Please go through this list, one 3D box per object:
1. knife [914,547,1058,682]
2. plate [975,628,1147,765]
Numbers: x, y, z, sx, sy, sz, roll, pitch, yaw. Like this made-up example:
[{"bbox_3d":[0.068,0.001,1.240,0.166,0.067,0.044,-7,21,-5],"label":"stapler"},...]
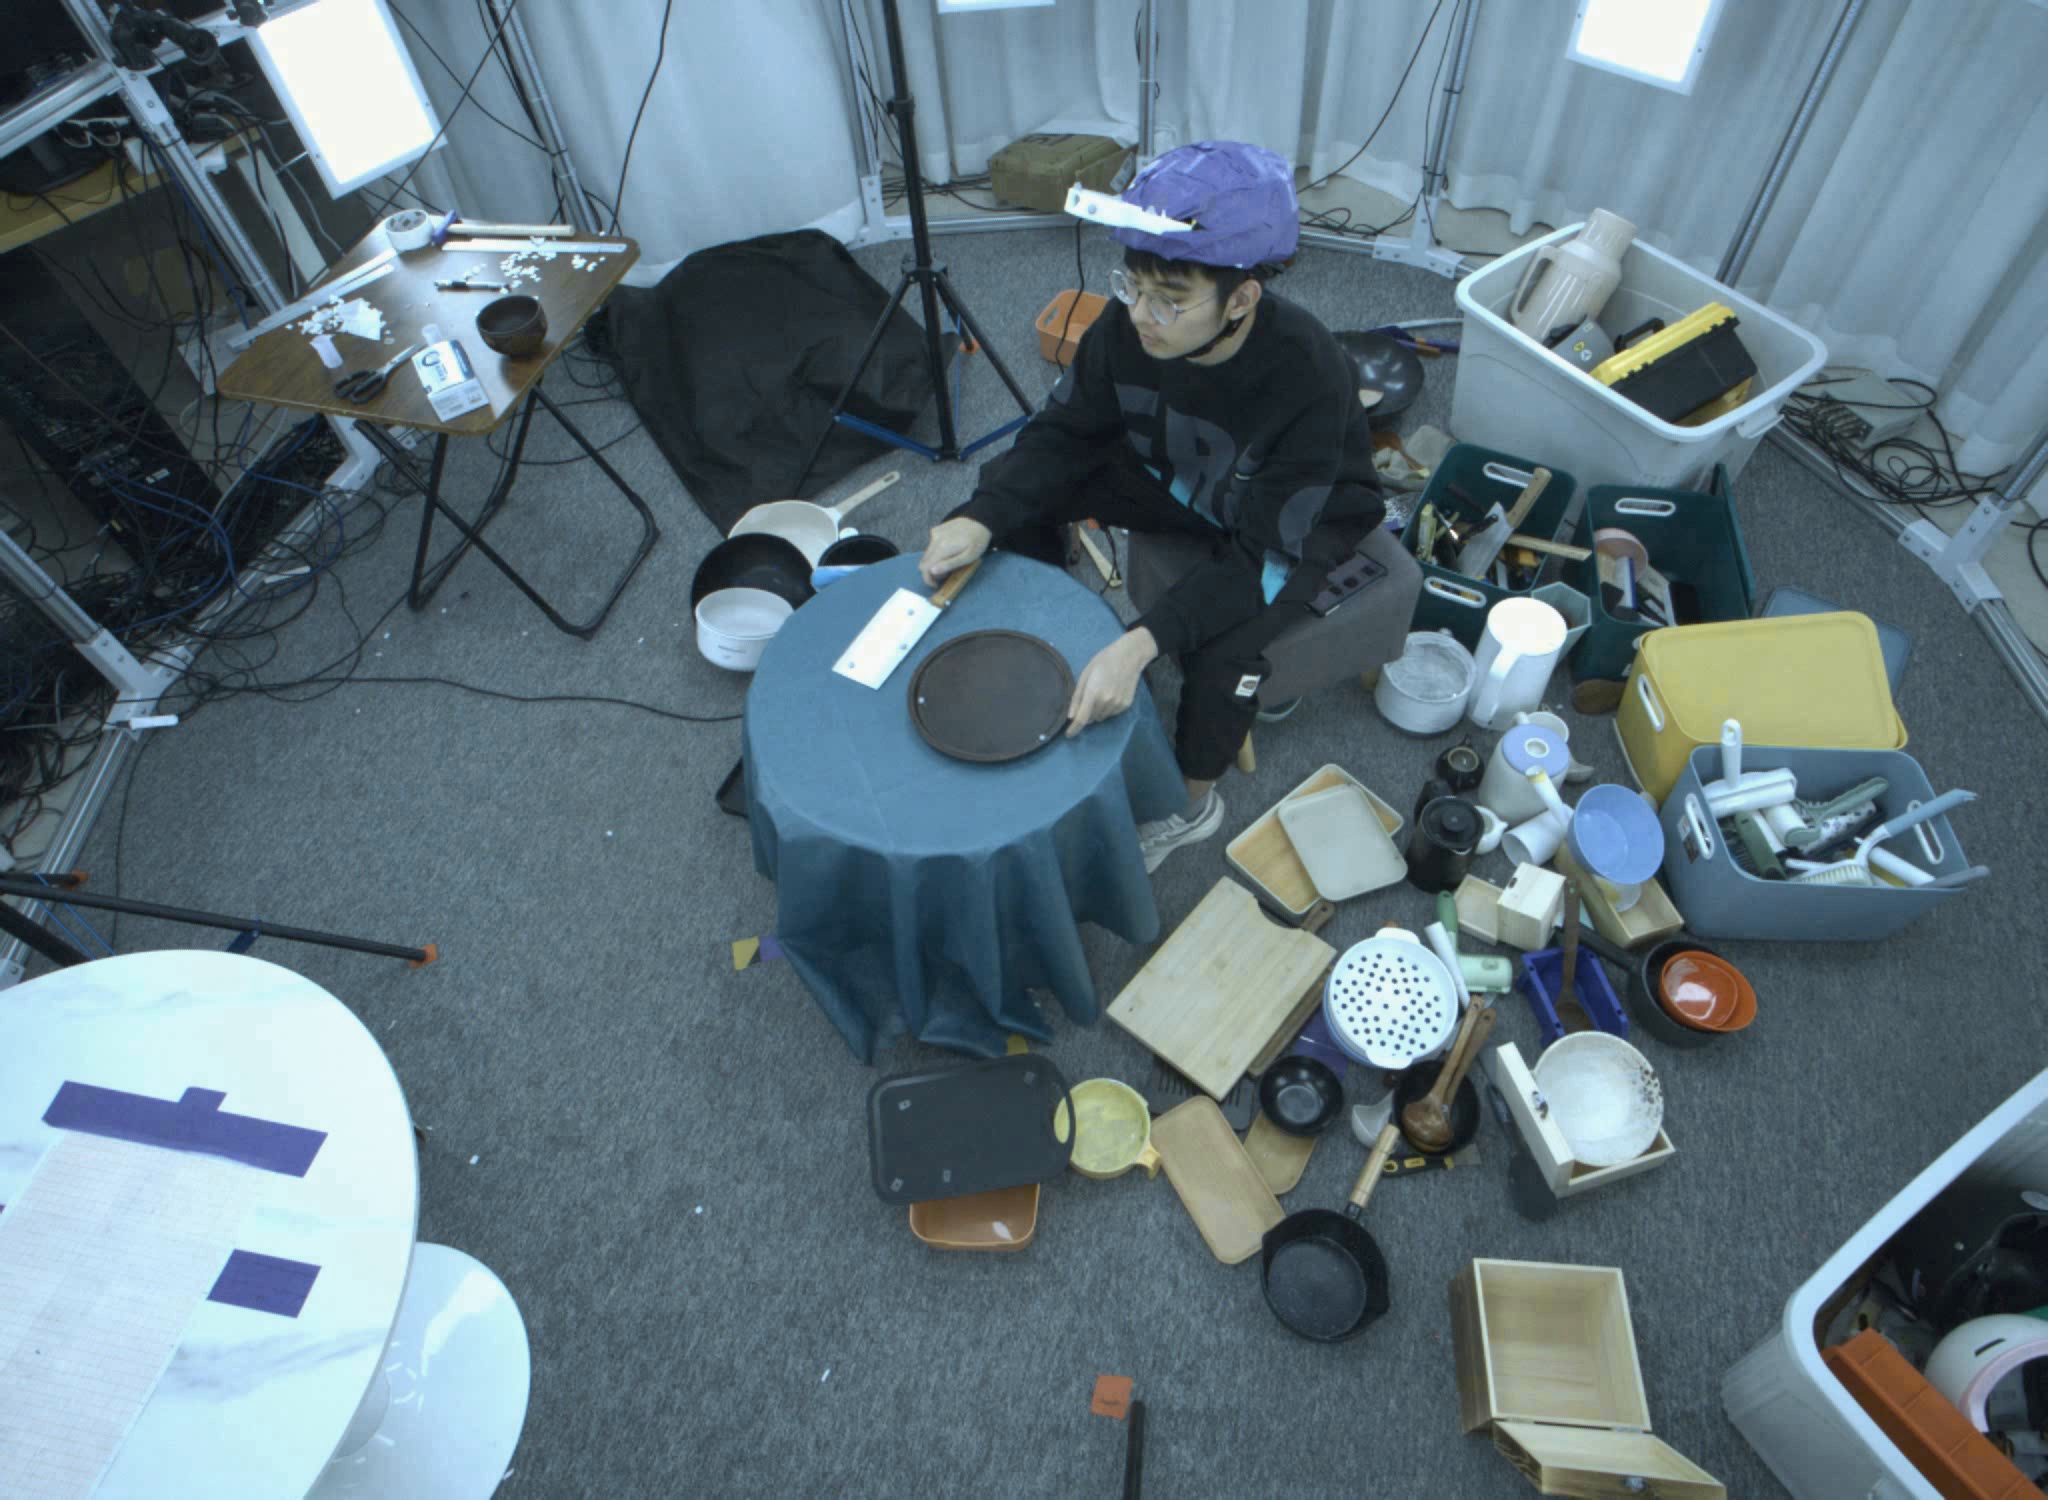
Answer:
[{"bbox_3d":[-0.064,-0.226,1.940,0.091,0.021,0.307,29,63,22],"label":"knife"},{"bbox_3d":[0.055,-0.080,1.826,0.254,0.029,0.252,0,56,1],"label":"plate"}]
